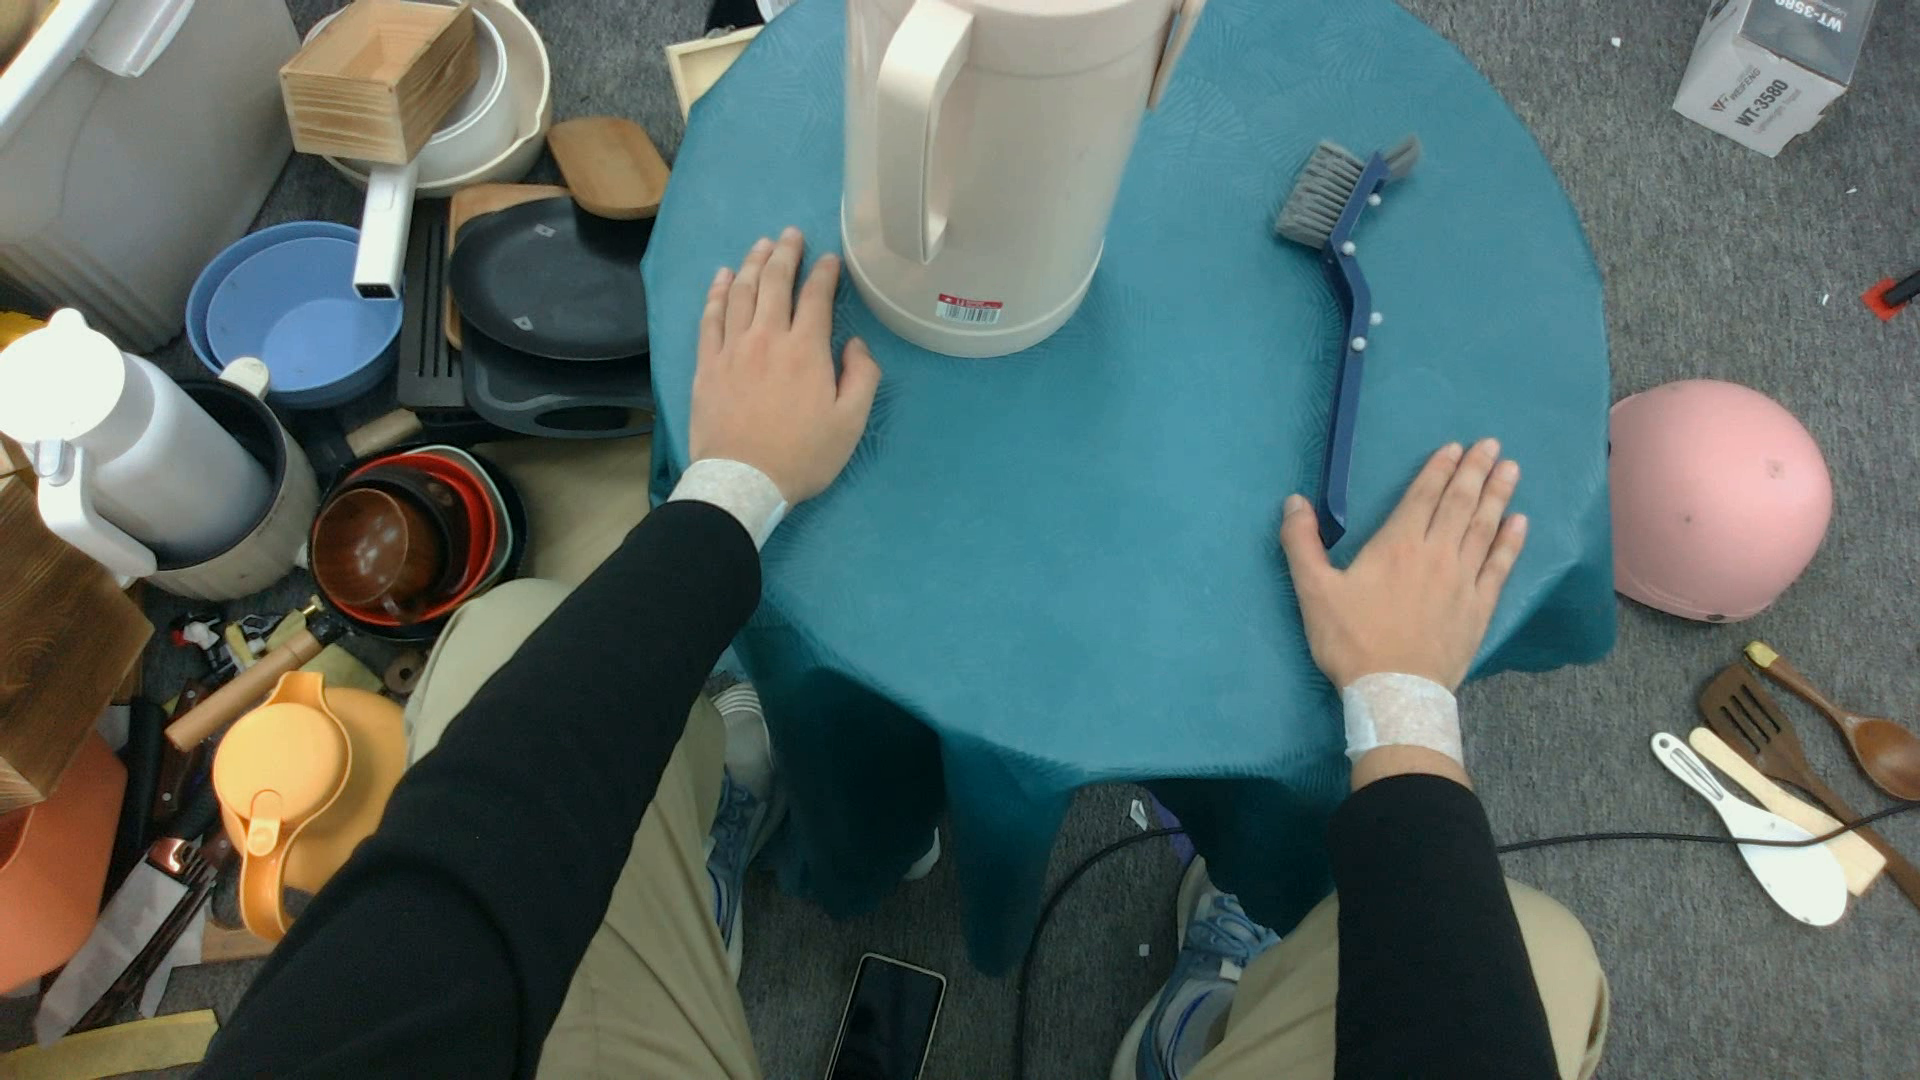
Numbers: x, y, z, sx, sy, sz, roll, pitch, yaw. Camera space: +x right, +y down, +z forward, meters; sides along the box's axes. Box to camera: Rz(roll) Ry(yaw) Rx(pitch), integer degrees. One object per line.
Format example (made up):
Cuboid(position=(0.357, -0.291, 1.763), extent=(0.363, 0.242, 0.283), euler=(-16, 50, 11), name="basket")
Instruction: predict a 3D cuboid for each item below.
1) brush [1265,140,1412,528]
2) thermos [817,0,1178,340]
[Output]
Cuboid(position=(0.236, -0.135, 0.841), extent=(0.096, 0.033, 0.274), euler=(5, 68, -3), name="brush")
Cuboid(position=(0.005, -0.245, 0.662), extent=(0.175, 0.405, 0.208), euler=(26, 70, 2), name="thermos")
